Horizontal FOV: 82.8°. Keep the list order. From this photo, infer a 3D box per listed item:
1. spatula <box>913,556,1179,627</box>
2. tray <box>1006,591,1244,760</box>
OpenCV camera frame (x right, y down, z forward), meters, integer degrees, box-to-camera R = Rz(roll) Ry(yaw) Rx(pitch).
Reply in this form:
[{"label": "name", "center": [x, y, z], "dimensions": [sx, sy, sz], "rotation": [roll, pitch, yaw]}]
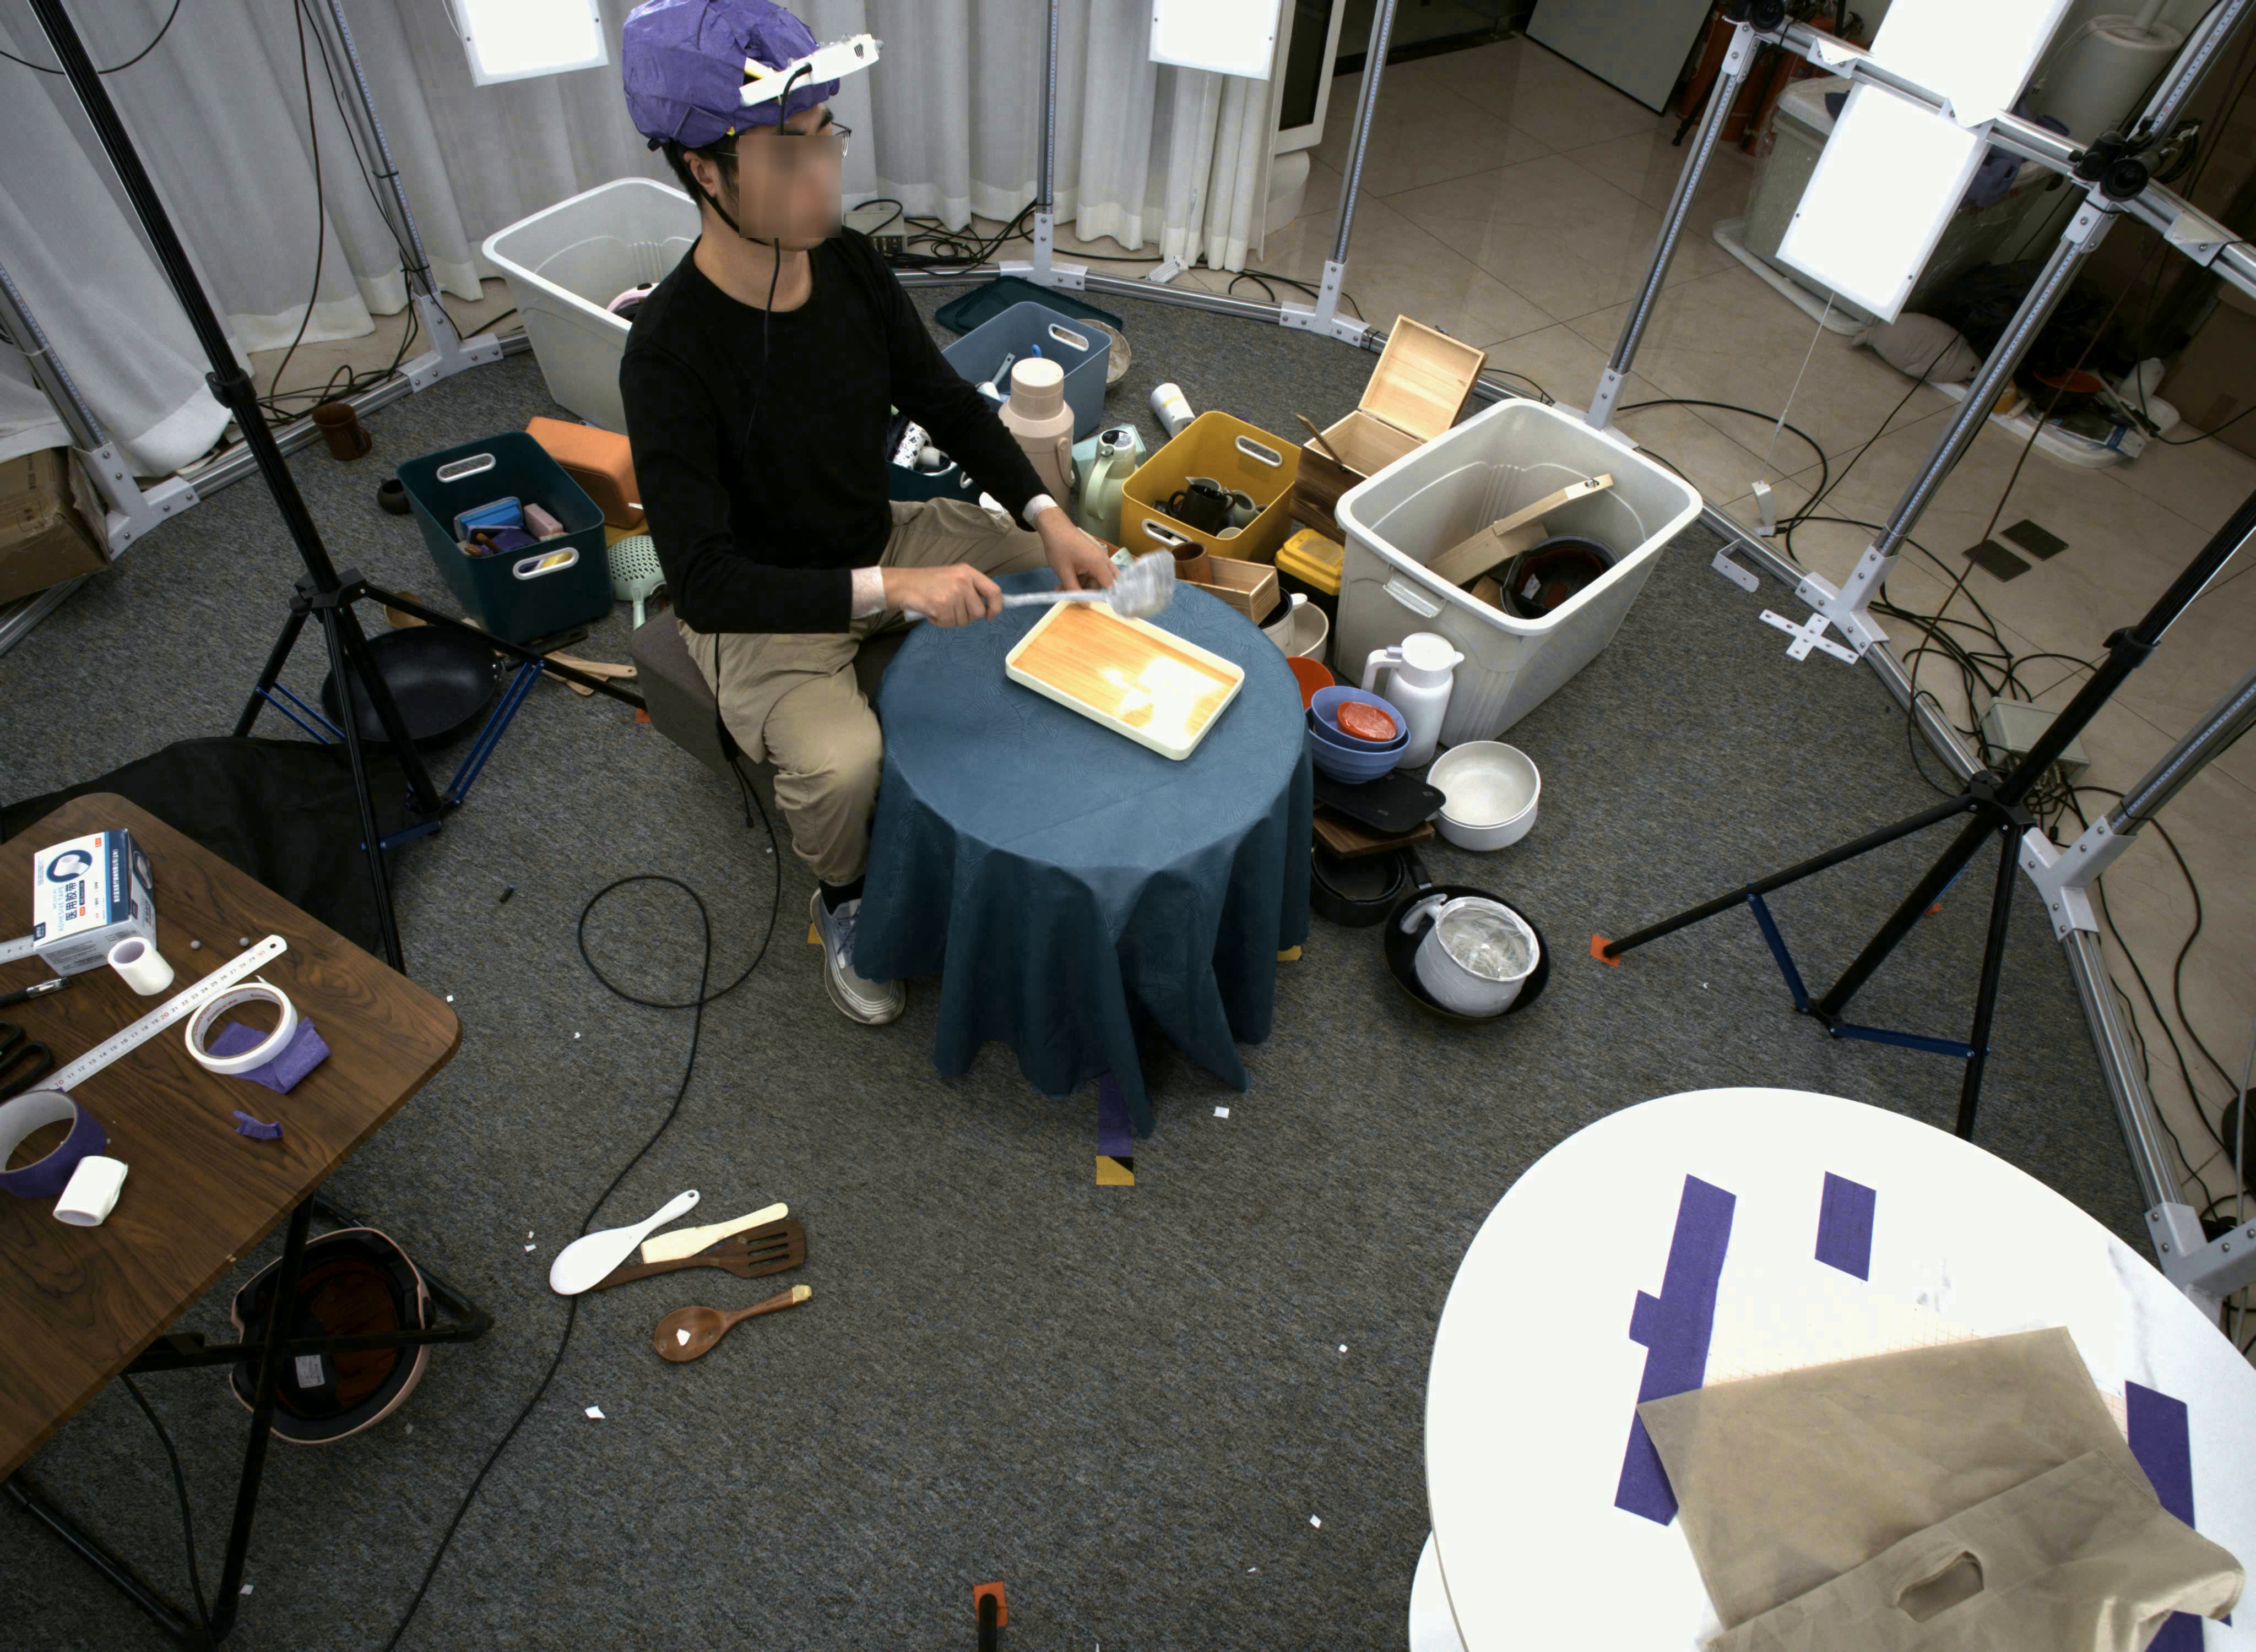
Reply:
[{"label": "spatula", "center": [-0.106, -0.300, 1.720], "dimensions": [0.364, 0.096, 0.046], "rotation": [-5, 40, -8]}, {"label": "tray", "center": [-0.004, -0.220, 1.835], "dimensions": [0.303, 0.027, 0.194], "rotation": [28, 54, 17]}]
